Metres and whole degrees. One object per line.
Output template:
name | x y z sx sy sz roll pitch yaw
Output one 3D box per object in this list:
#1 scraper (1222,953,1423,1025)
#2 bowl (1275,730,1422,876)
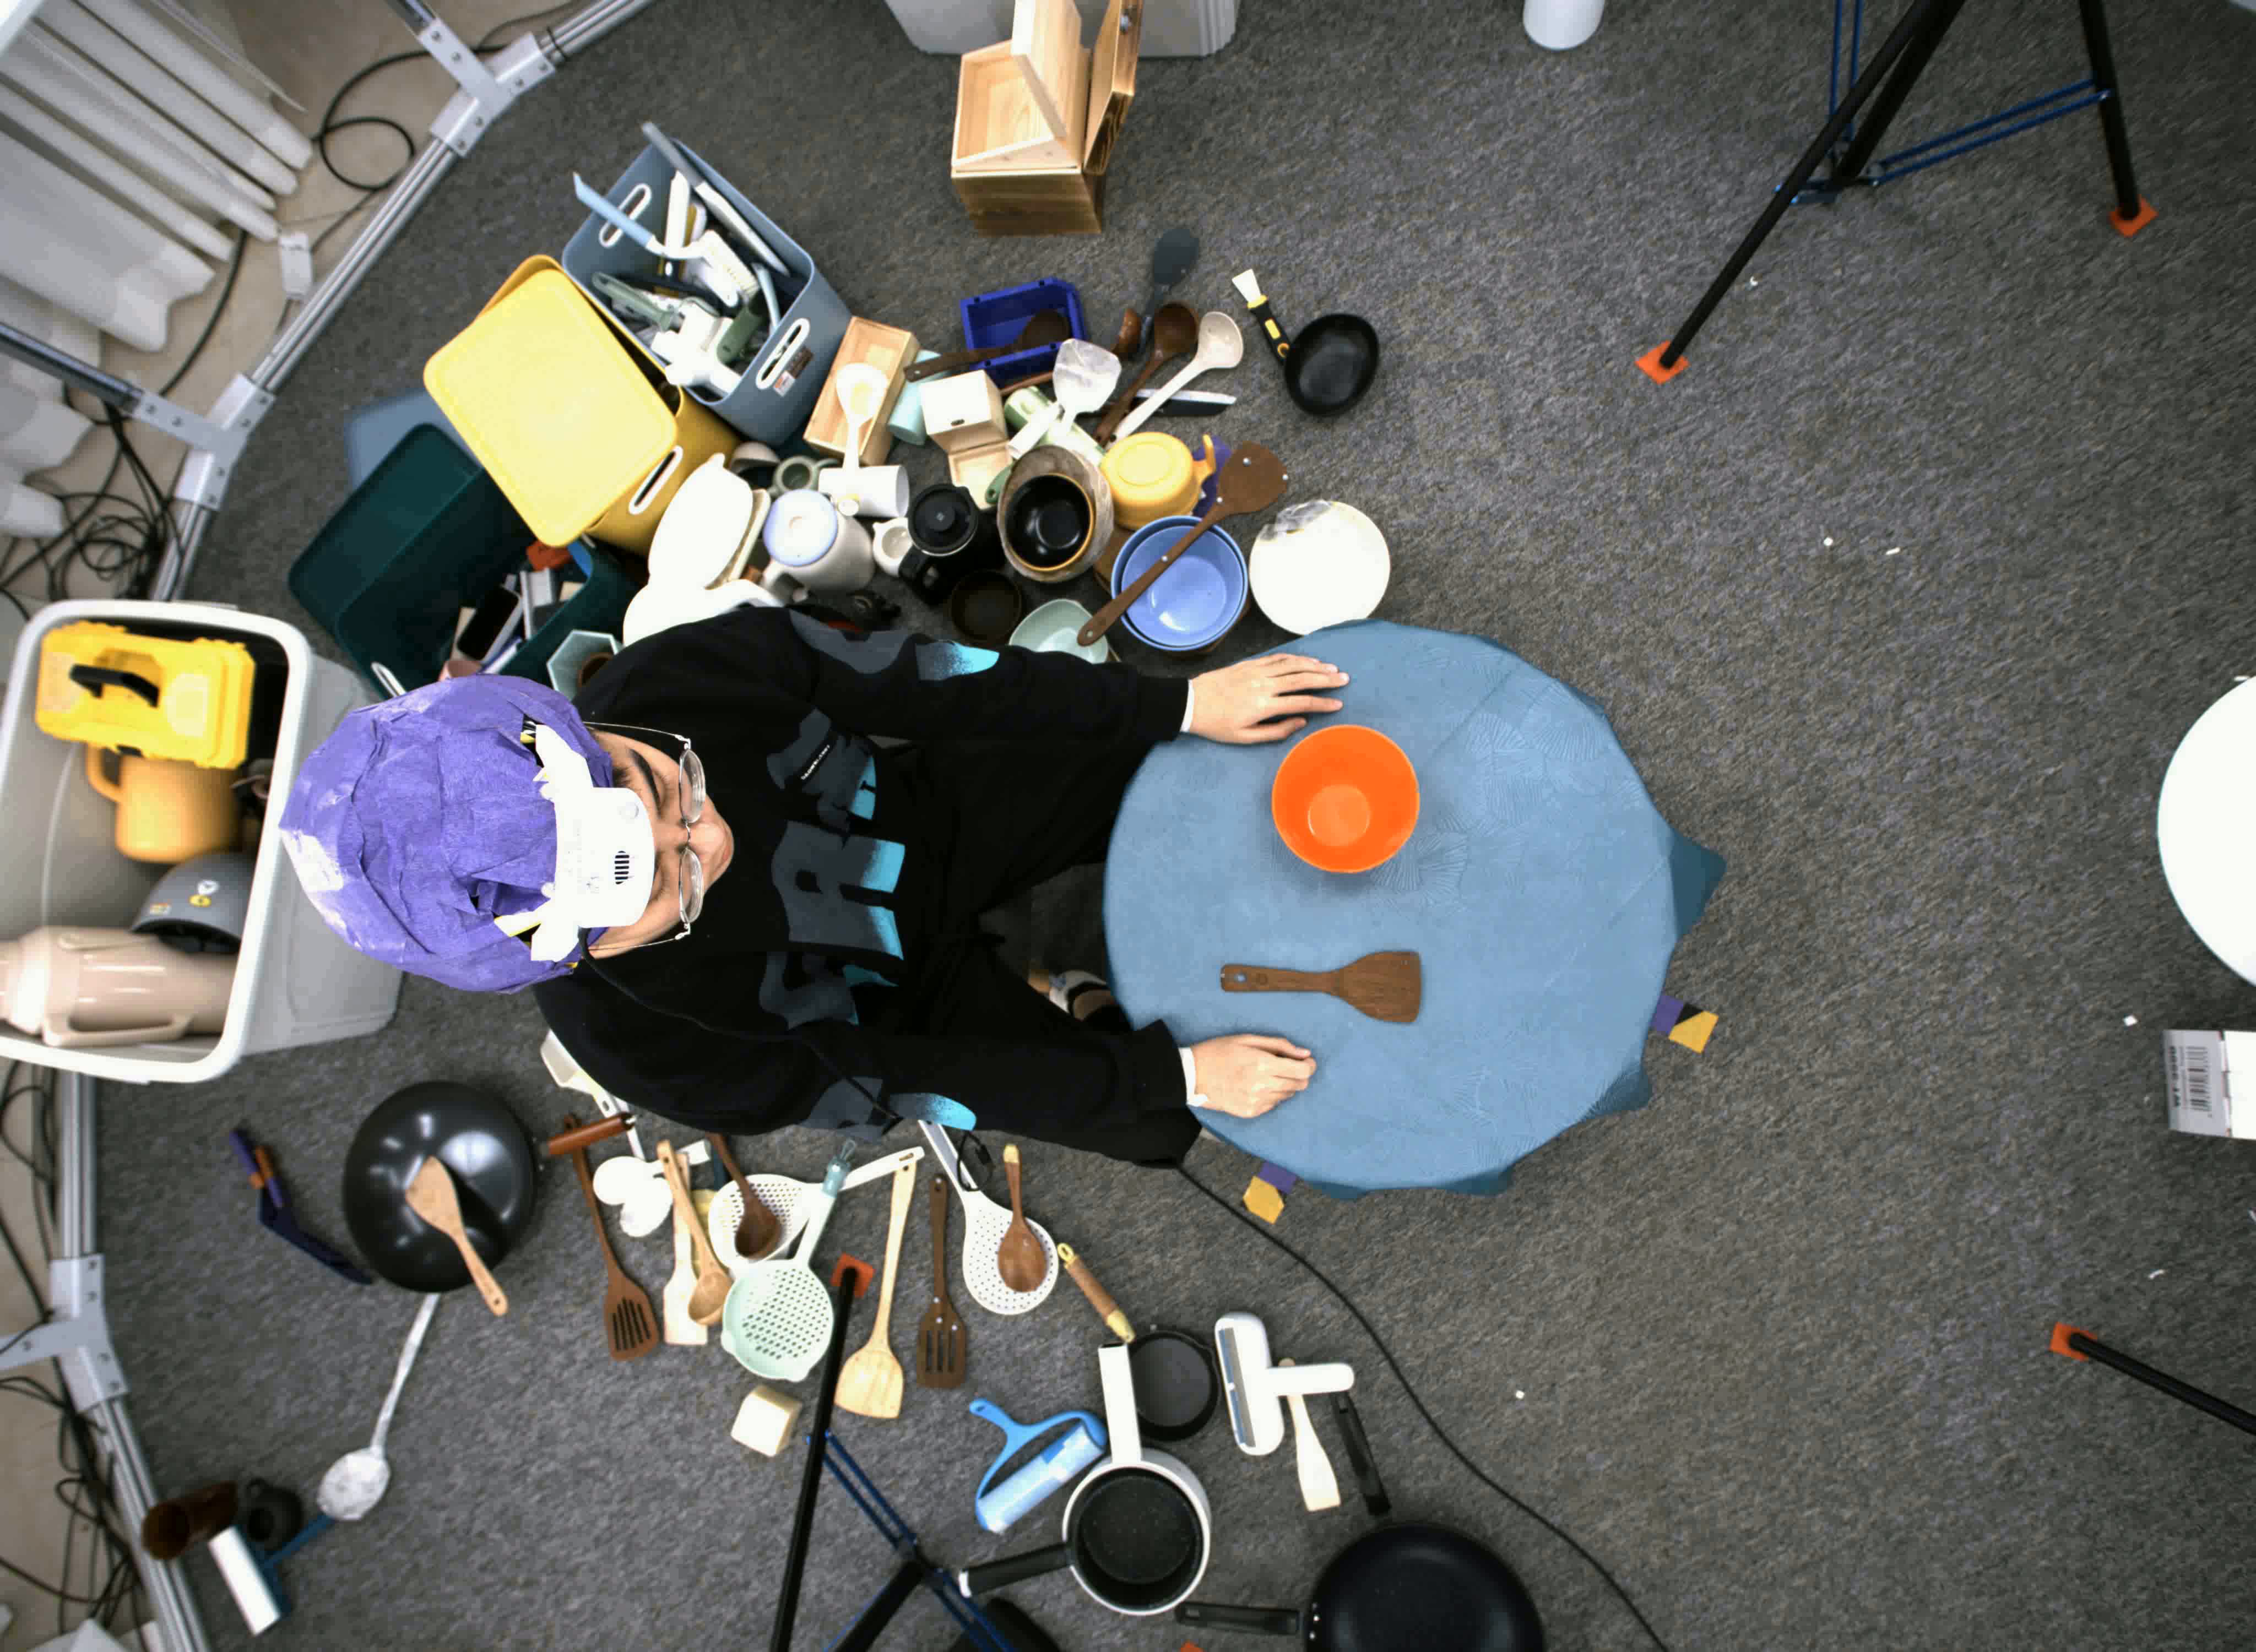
scraper | 0.205 0.167 1.466 0.212 0.011 0.075 2 85 11
bowl | 0.228 -0.020 1.429 0.148 0.104 0.147 -1 86 11
